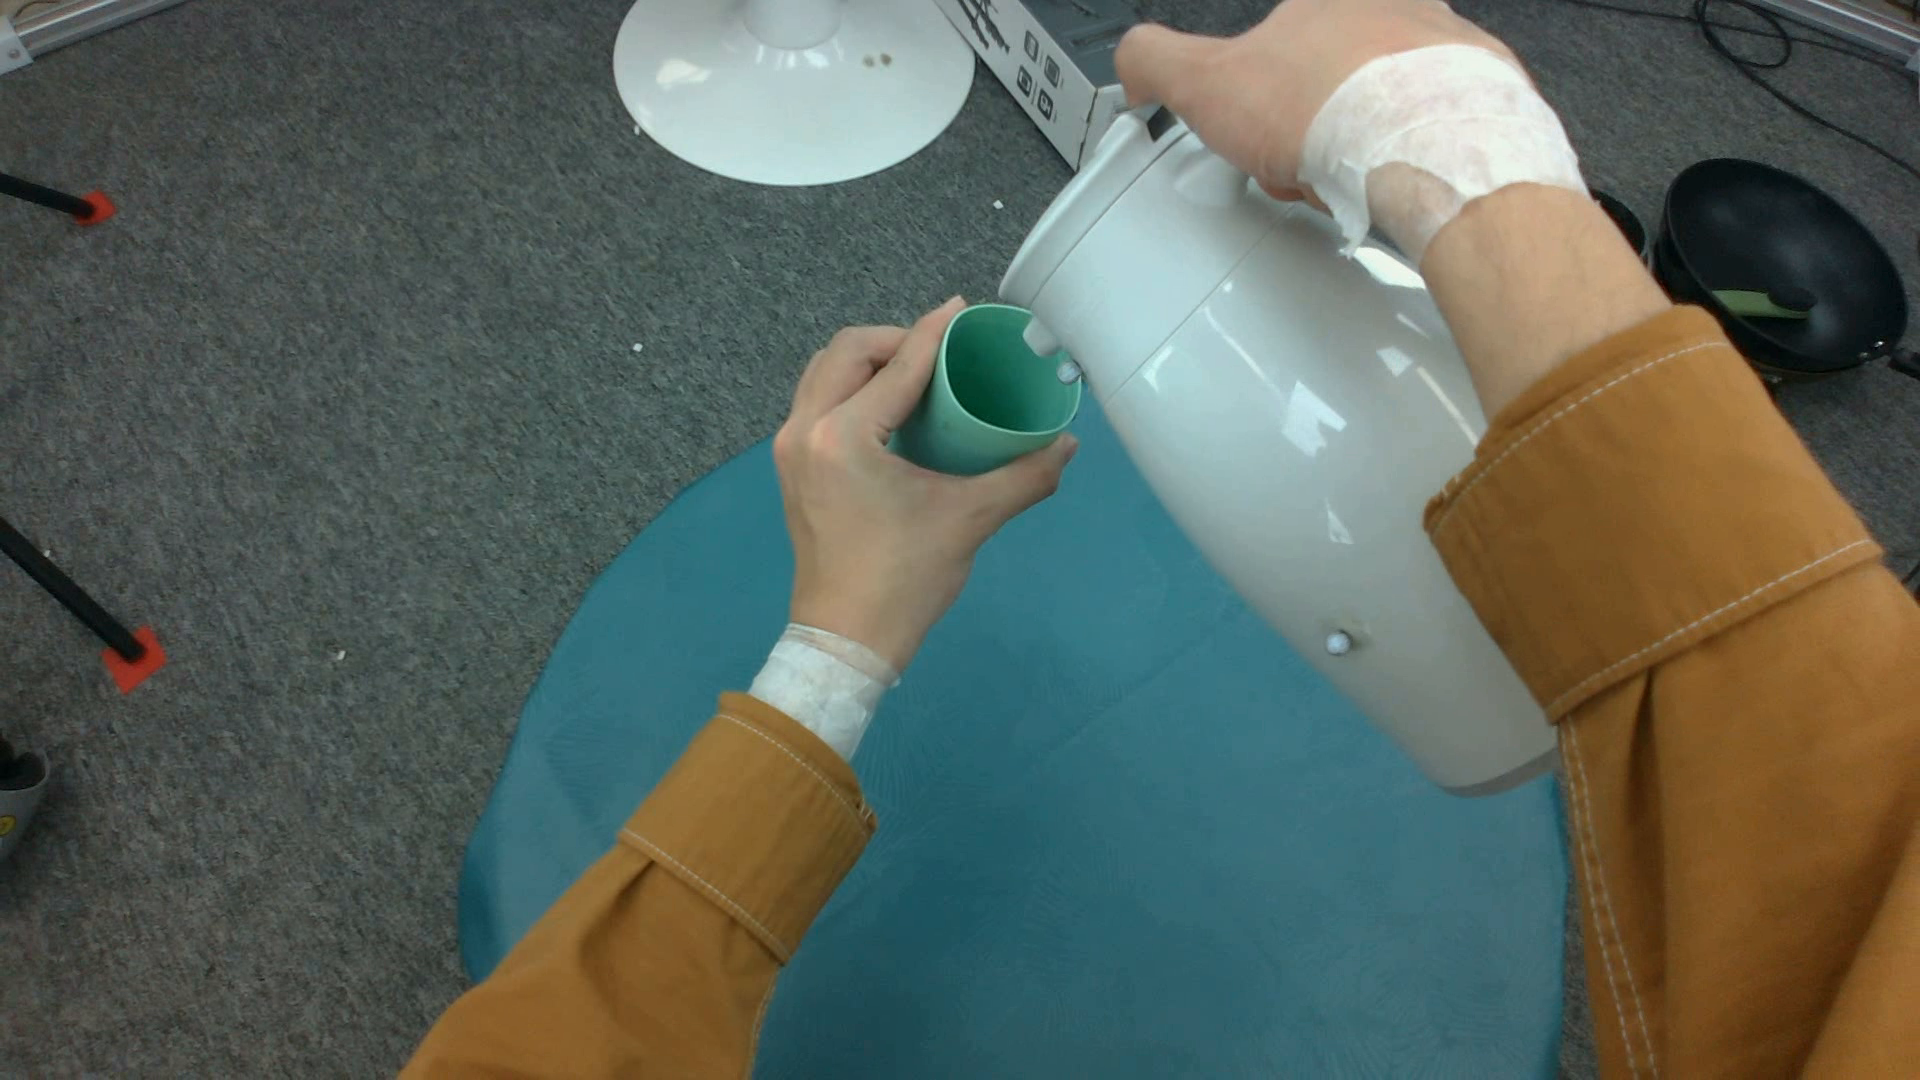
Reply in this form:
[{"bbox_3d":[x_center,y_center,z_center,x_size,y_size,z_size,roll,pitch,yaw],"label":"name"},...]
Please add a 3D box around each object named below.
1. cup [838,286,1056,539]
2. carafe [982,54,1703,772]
[{"bbox_3d":[-0.010,-0.053,0.633,0.067,0.131,0.067,9,64,-18],"label":"cup"},{"bbox_3d":[0.133,-0.058,0.485,0.248,0.167,0.133,44,50,0],"label":"carafe"}]
